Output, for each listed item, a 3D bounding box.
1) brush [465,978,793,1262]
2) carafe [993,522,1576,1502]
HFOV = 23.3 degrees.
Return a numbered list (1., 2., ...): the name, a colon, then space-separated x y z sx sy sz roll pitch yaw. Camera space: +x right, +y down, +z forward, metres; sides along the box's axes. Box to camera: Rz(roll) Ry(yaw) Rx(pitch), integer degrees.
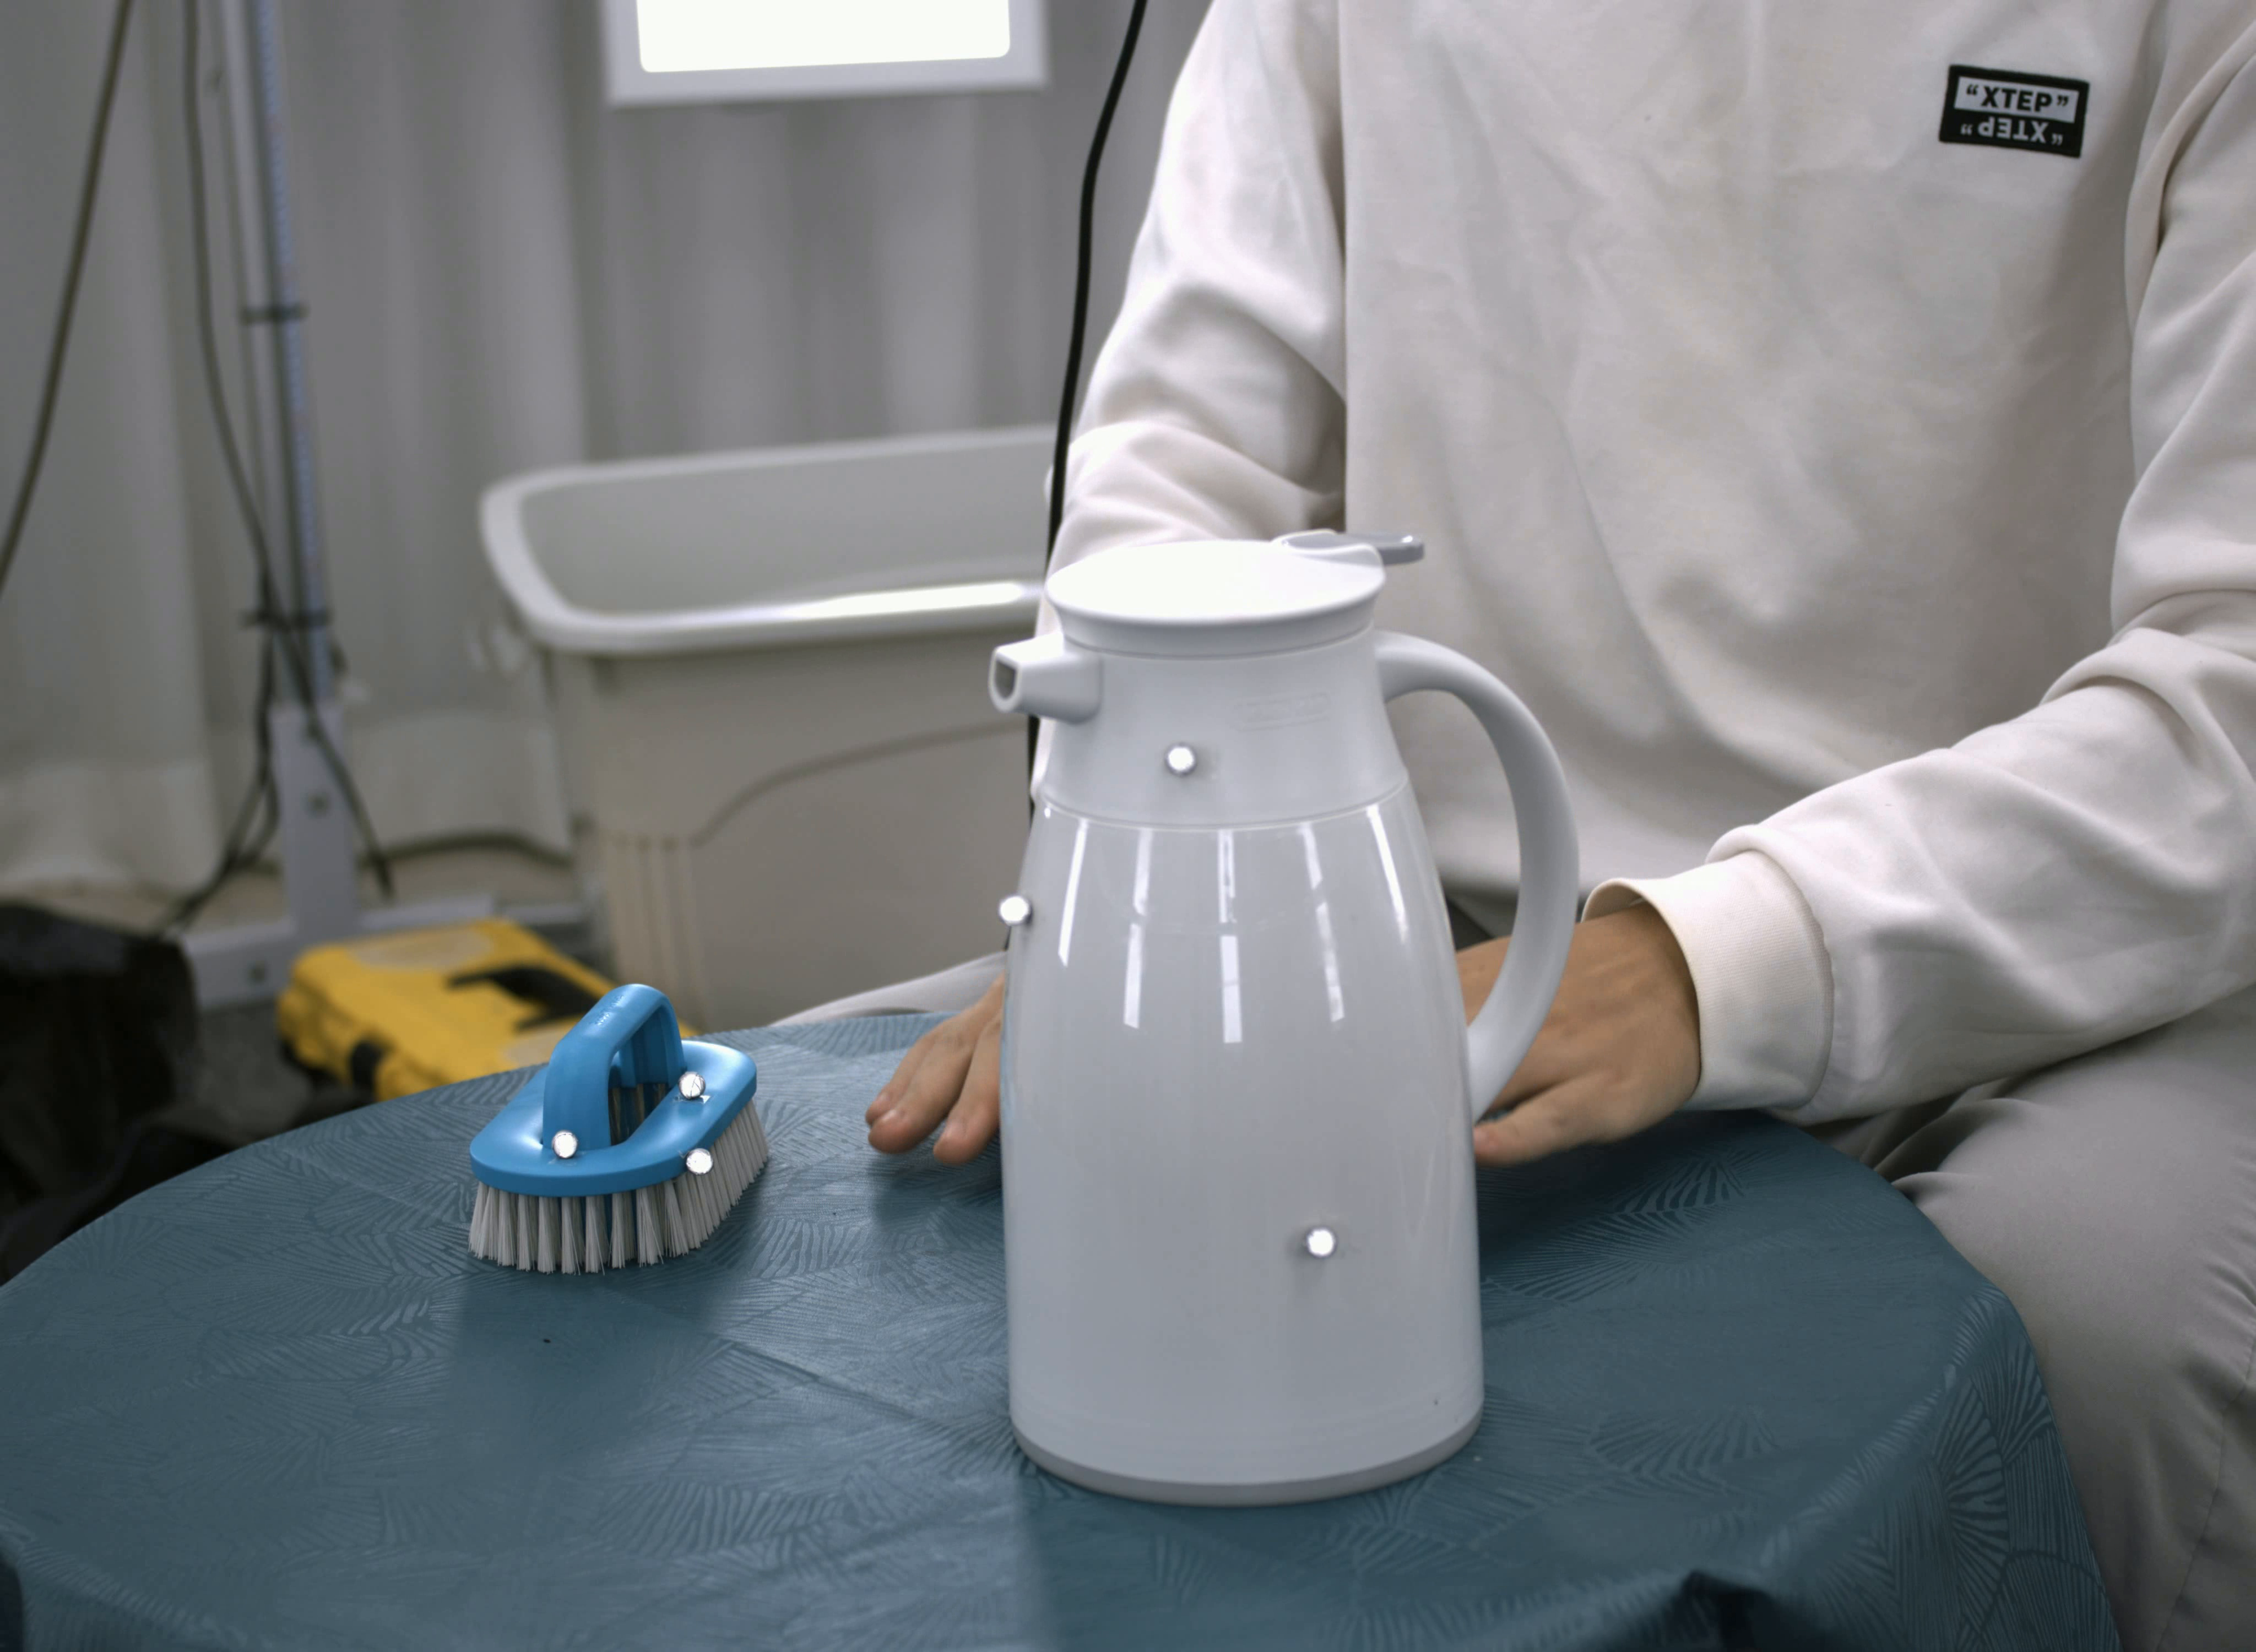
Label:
1. brush: -0.159 0.087 1.724 0.084 0.063 0.142 -4 13 14
2. carafe: 0.045 0.042 1.501 0.167 0.248 0.133 -8 15 -23
